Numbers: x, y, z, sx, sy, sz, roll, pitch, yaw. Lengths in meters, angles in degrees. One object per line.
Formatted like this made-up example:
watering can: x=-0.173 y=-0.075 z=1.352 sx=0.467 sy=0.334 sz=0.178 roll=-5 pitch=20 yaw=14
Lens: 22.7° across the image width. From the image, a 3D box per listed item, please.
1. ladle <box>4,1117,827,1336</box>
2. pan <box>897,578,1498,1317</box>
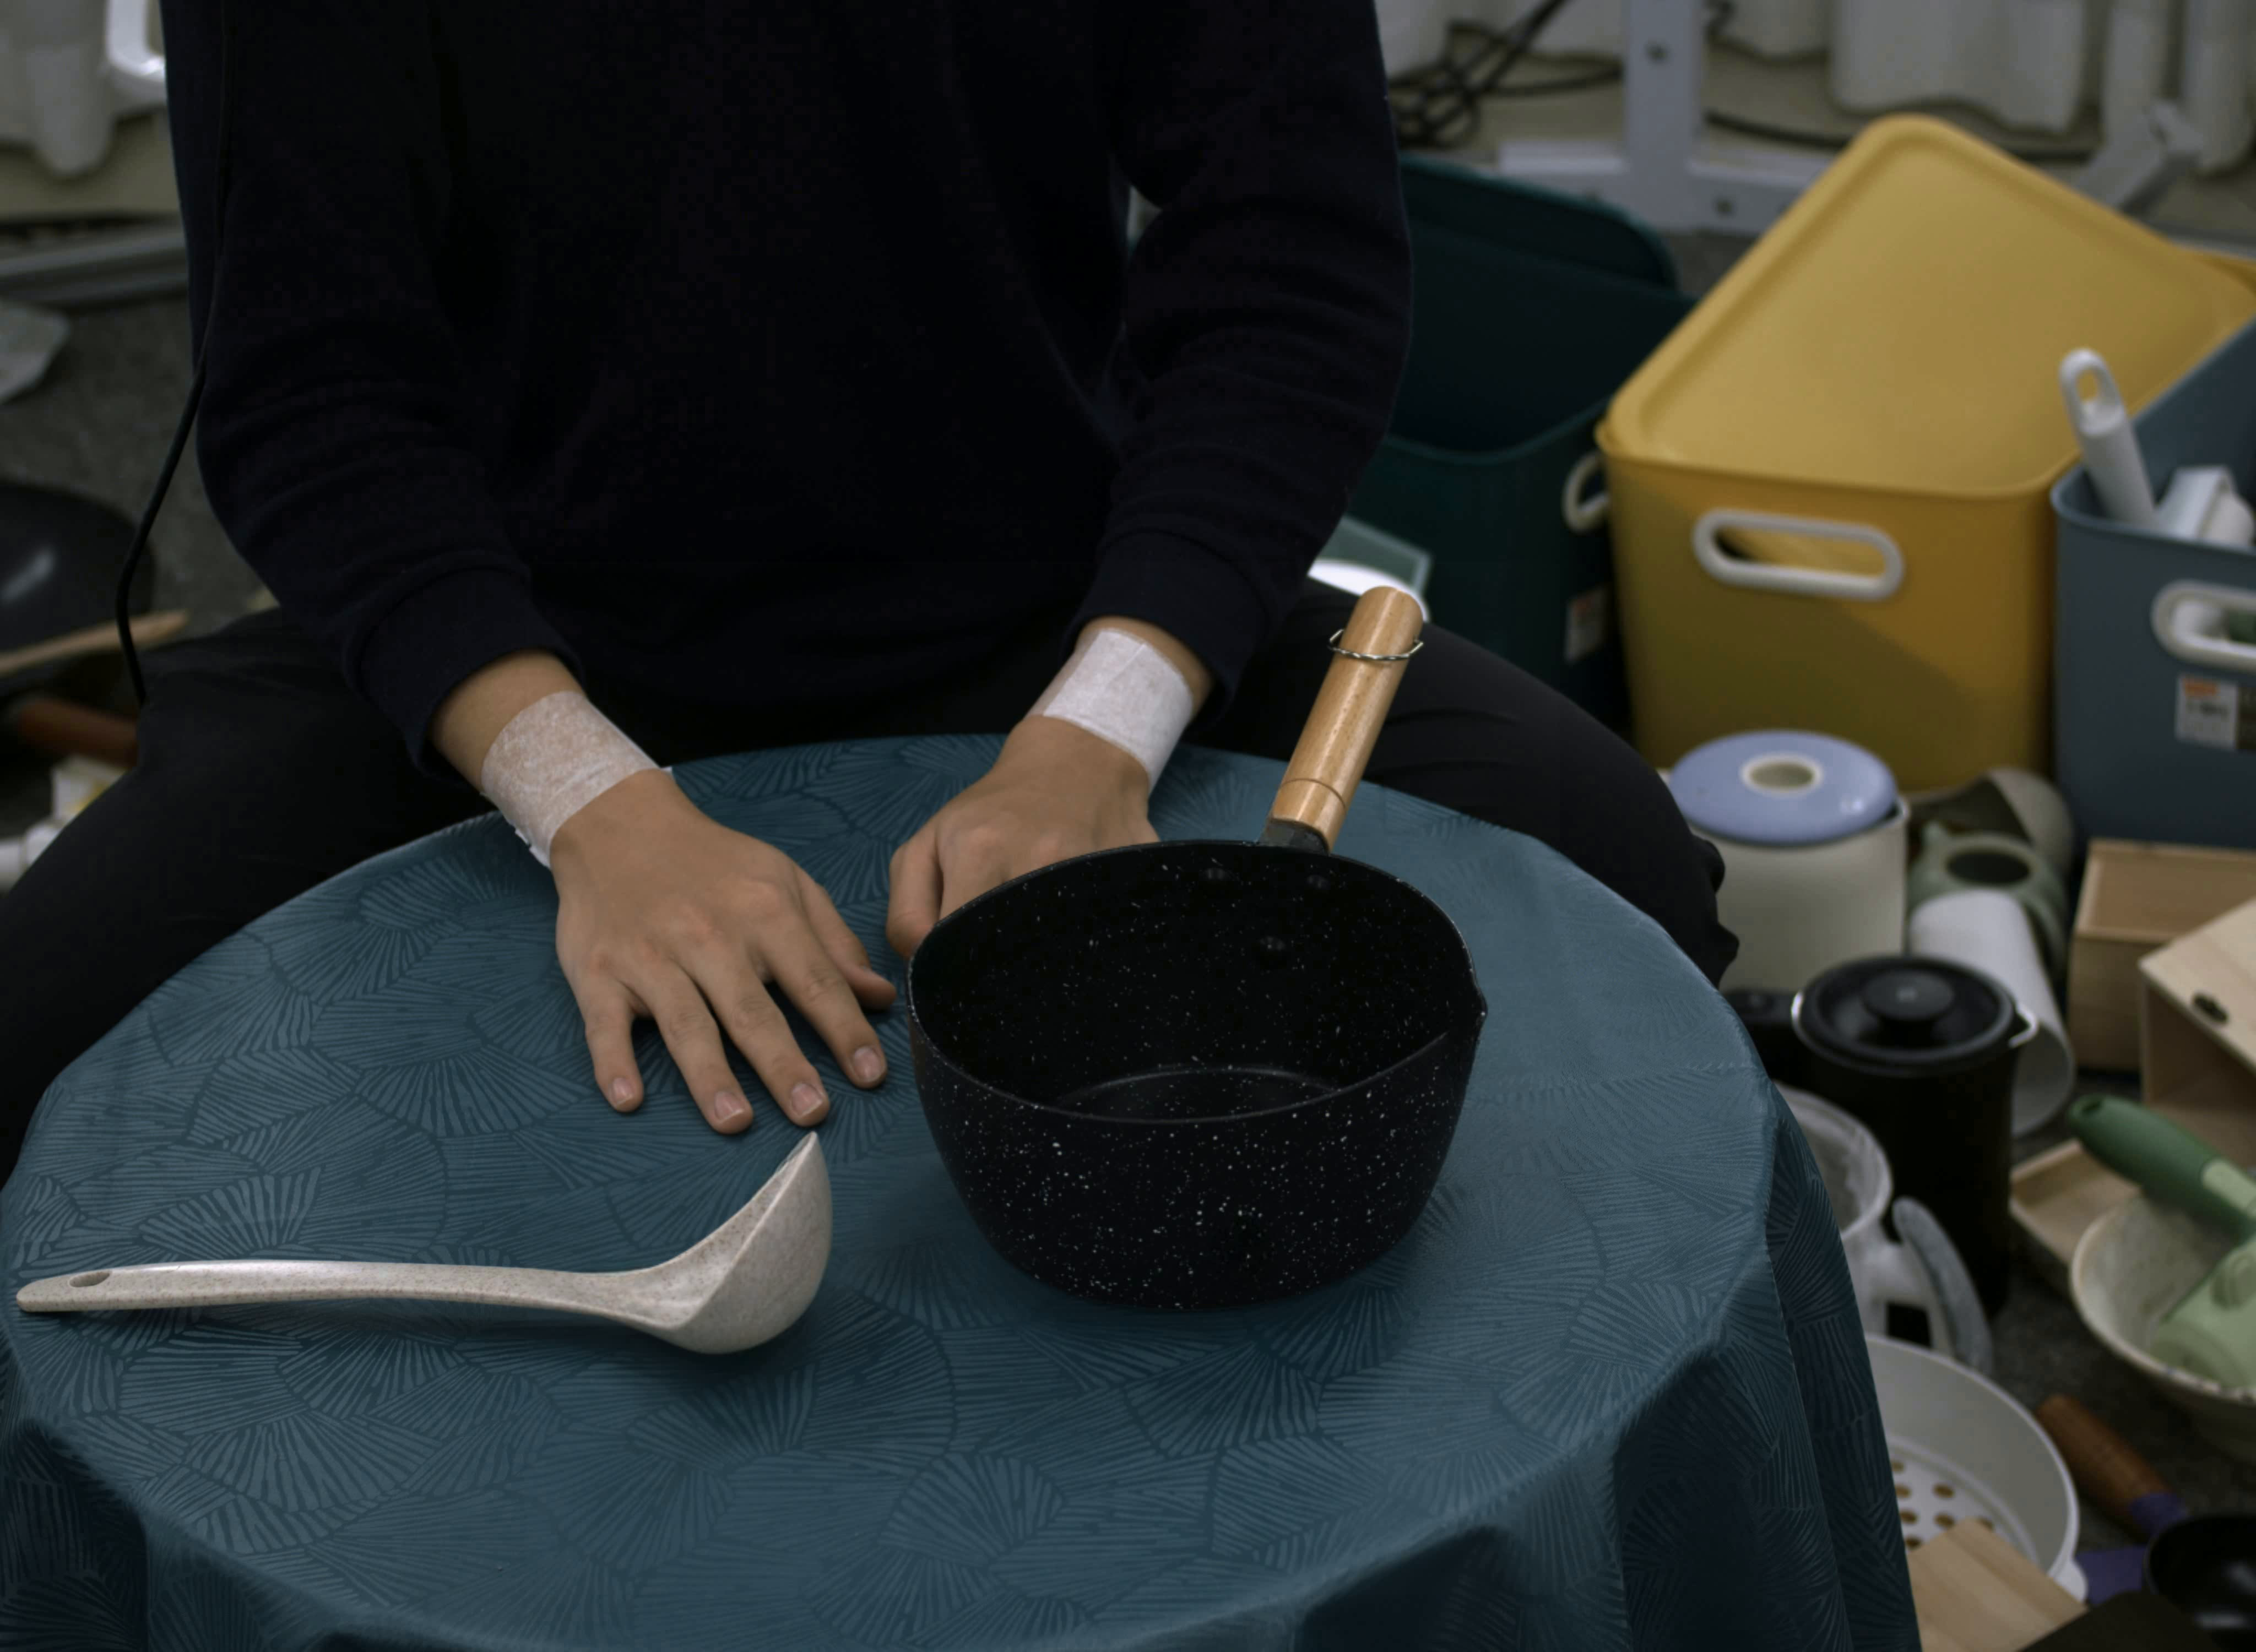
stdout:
ladle: x=-0.231 y=0.127 z=1.799 sx=0.273 sy=0.069 sz=0.090 roll=0 pitch=13 yaw=10
pan: x=0.044 y=0.037 z=1.904 sx=0.206 sy=0.107 sz=0.349 roll=4 pitch=30 yaw=17
